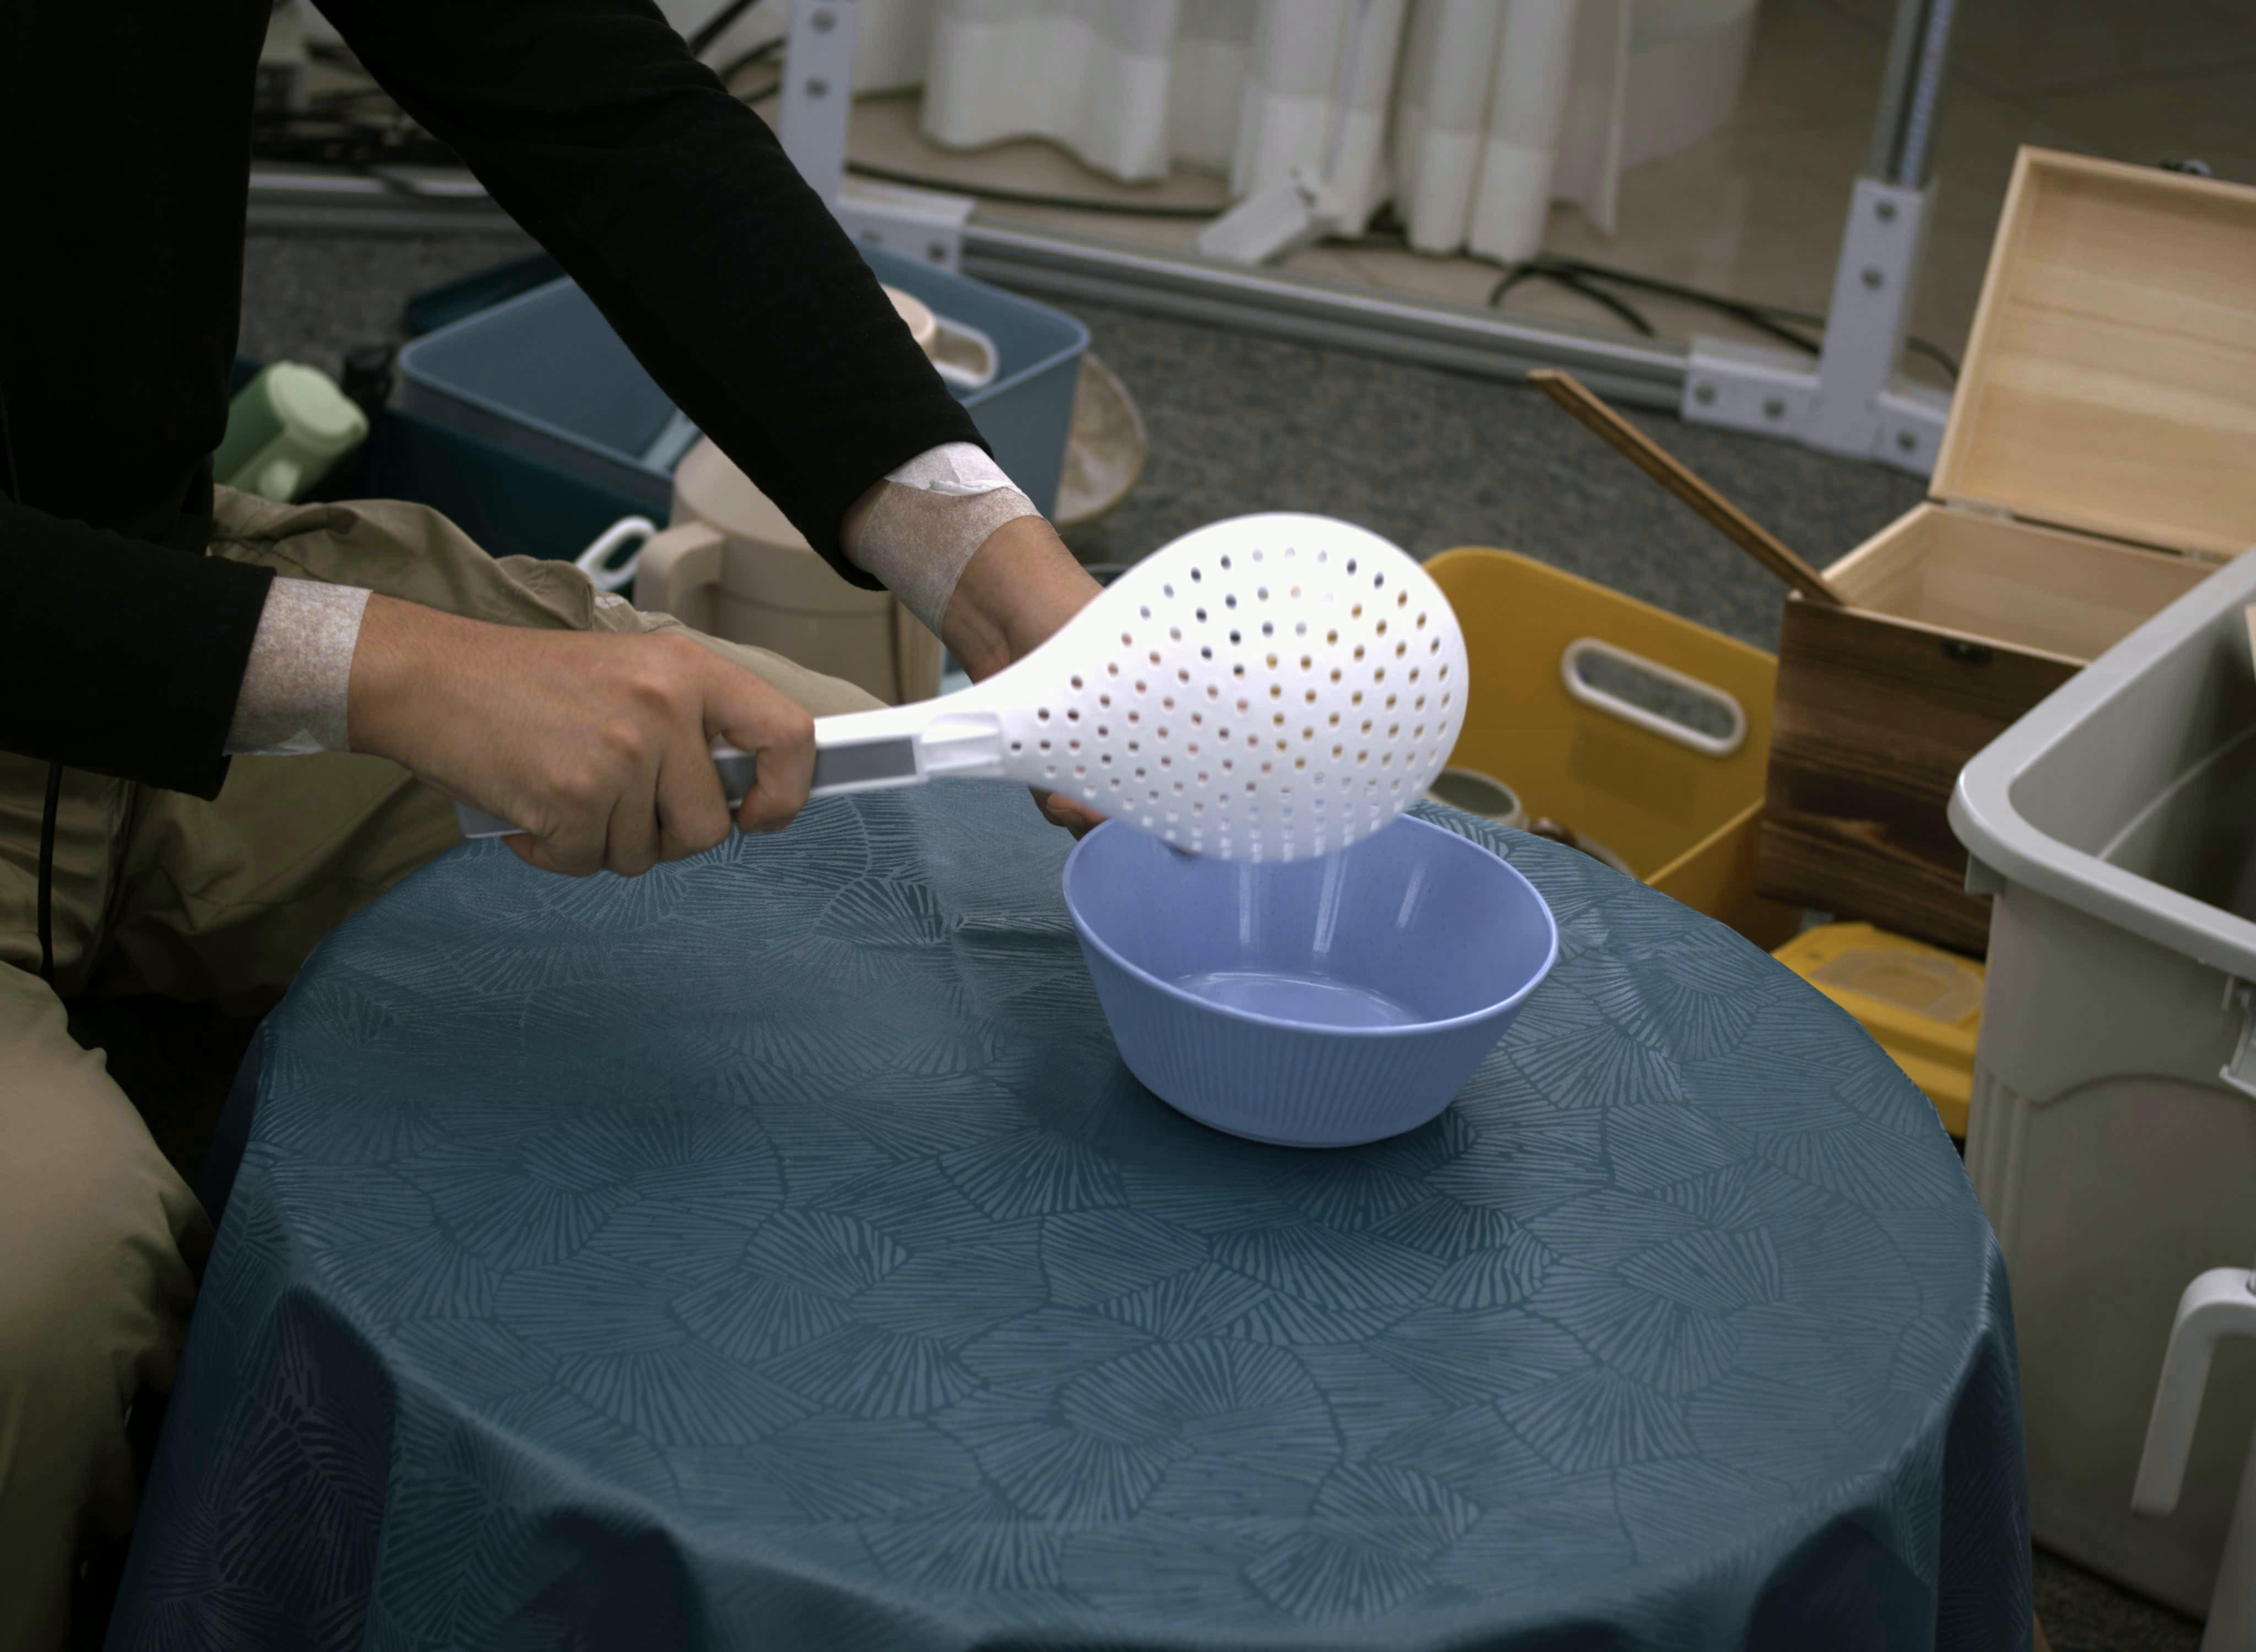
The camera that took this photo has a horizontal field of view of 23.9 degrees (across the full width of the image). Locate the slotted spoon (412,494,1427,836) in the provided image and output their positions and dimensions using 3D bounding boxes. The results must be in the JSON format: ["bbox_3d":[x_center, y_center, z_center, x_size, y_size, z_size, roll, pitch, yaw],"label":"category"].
[{"bbox_3d":[-0.072,-0.035,1.818,0.349,0.135,0.046,-5,32,6],"label":"slotted spoon"}]

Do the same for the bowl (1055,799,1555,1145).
[{"bbox_3d":[0.059,0.056,1.870,0.175,0.070,0.177,5,26,-3],"label":"bowl"}]
